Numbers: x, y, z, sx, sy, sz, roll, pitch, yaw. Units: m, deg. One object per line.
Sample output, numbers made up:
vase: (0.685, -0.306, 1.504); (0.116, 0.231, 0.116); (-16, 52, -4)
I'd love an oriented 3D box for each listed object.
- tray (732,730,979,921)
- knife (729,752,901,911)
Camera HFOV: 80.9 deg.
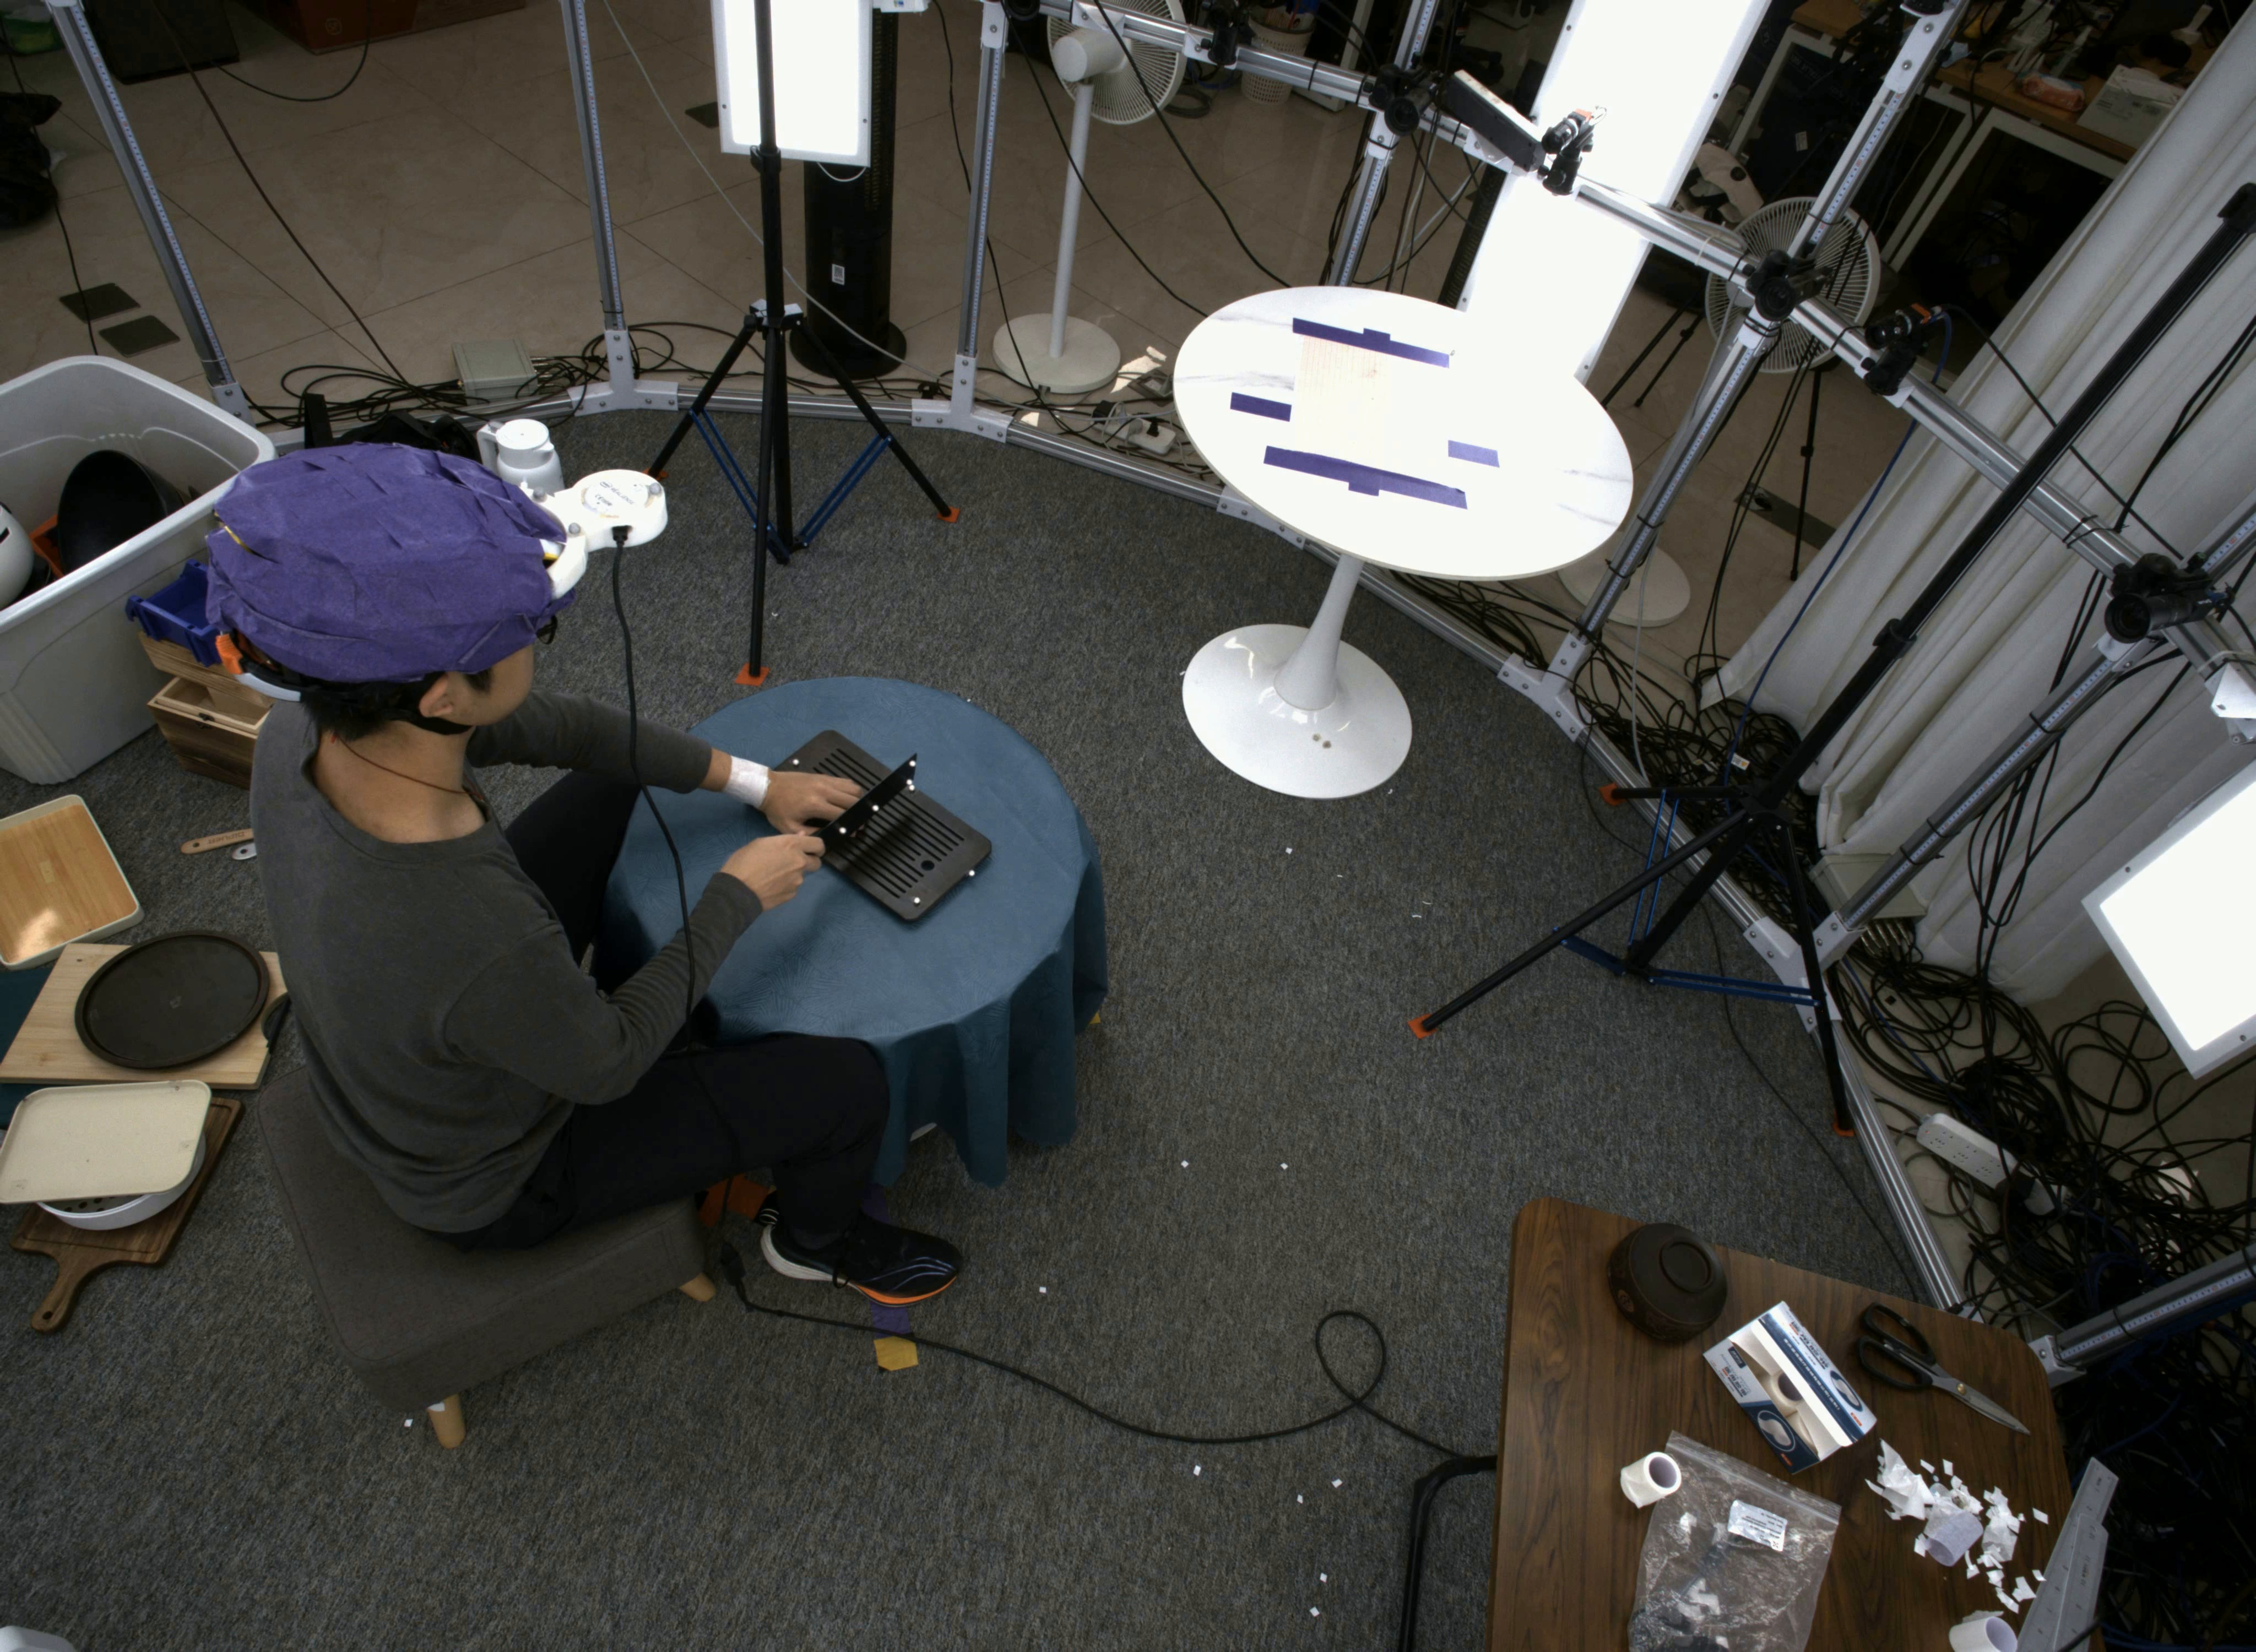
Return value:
tray: (-0.365, -0.005, 1.742); (0.300, 0.019, 0.170); (34, 54, 12)
knife: (-0.385, 0.006, 1.627); (0.020, 0.082, 0.302); (35, 50, 12)
